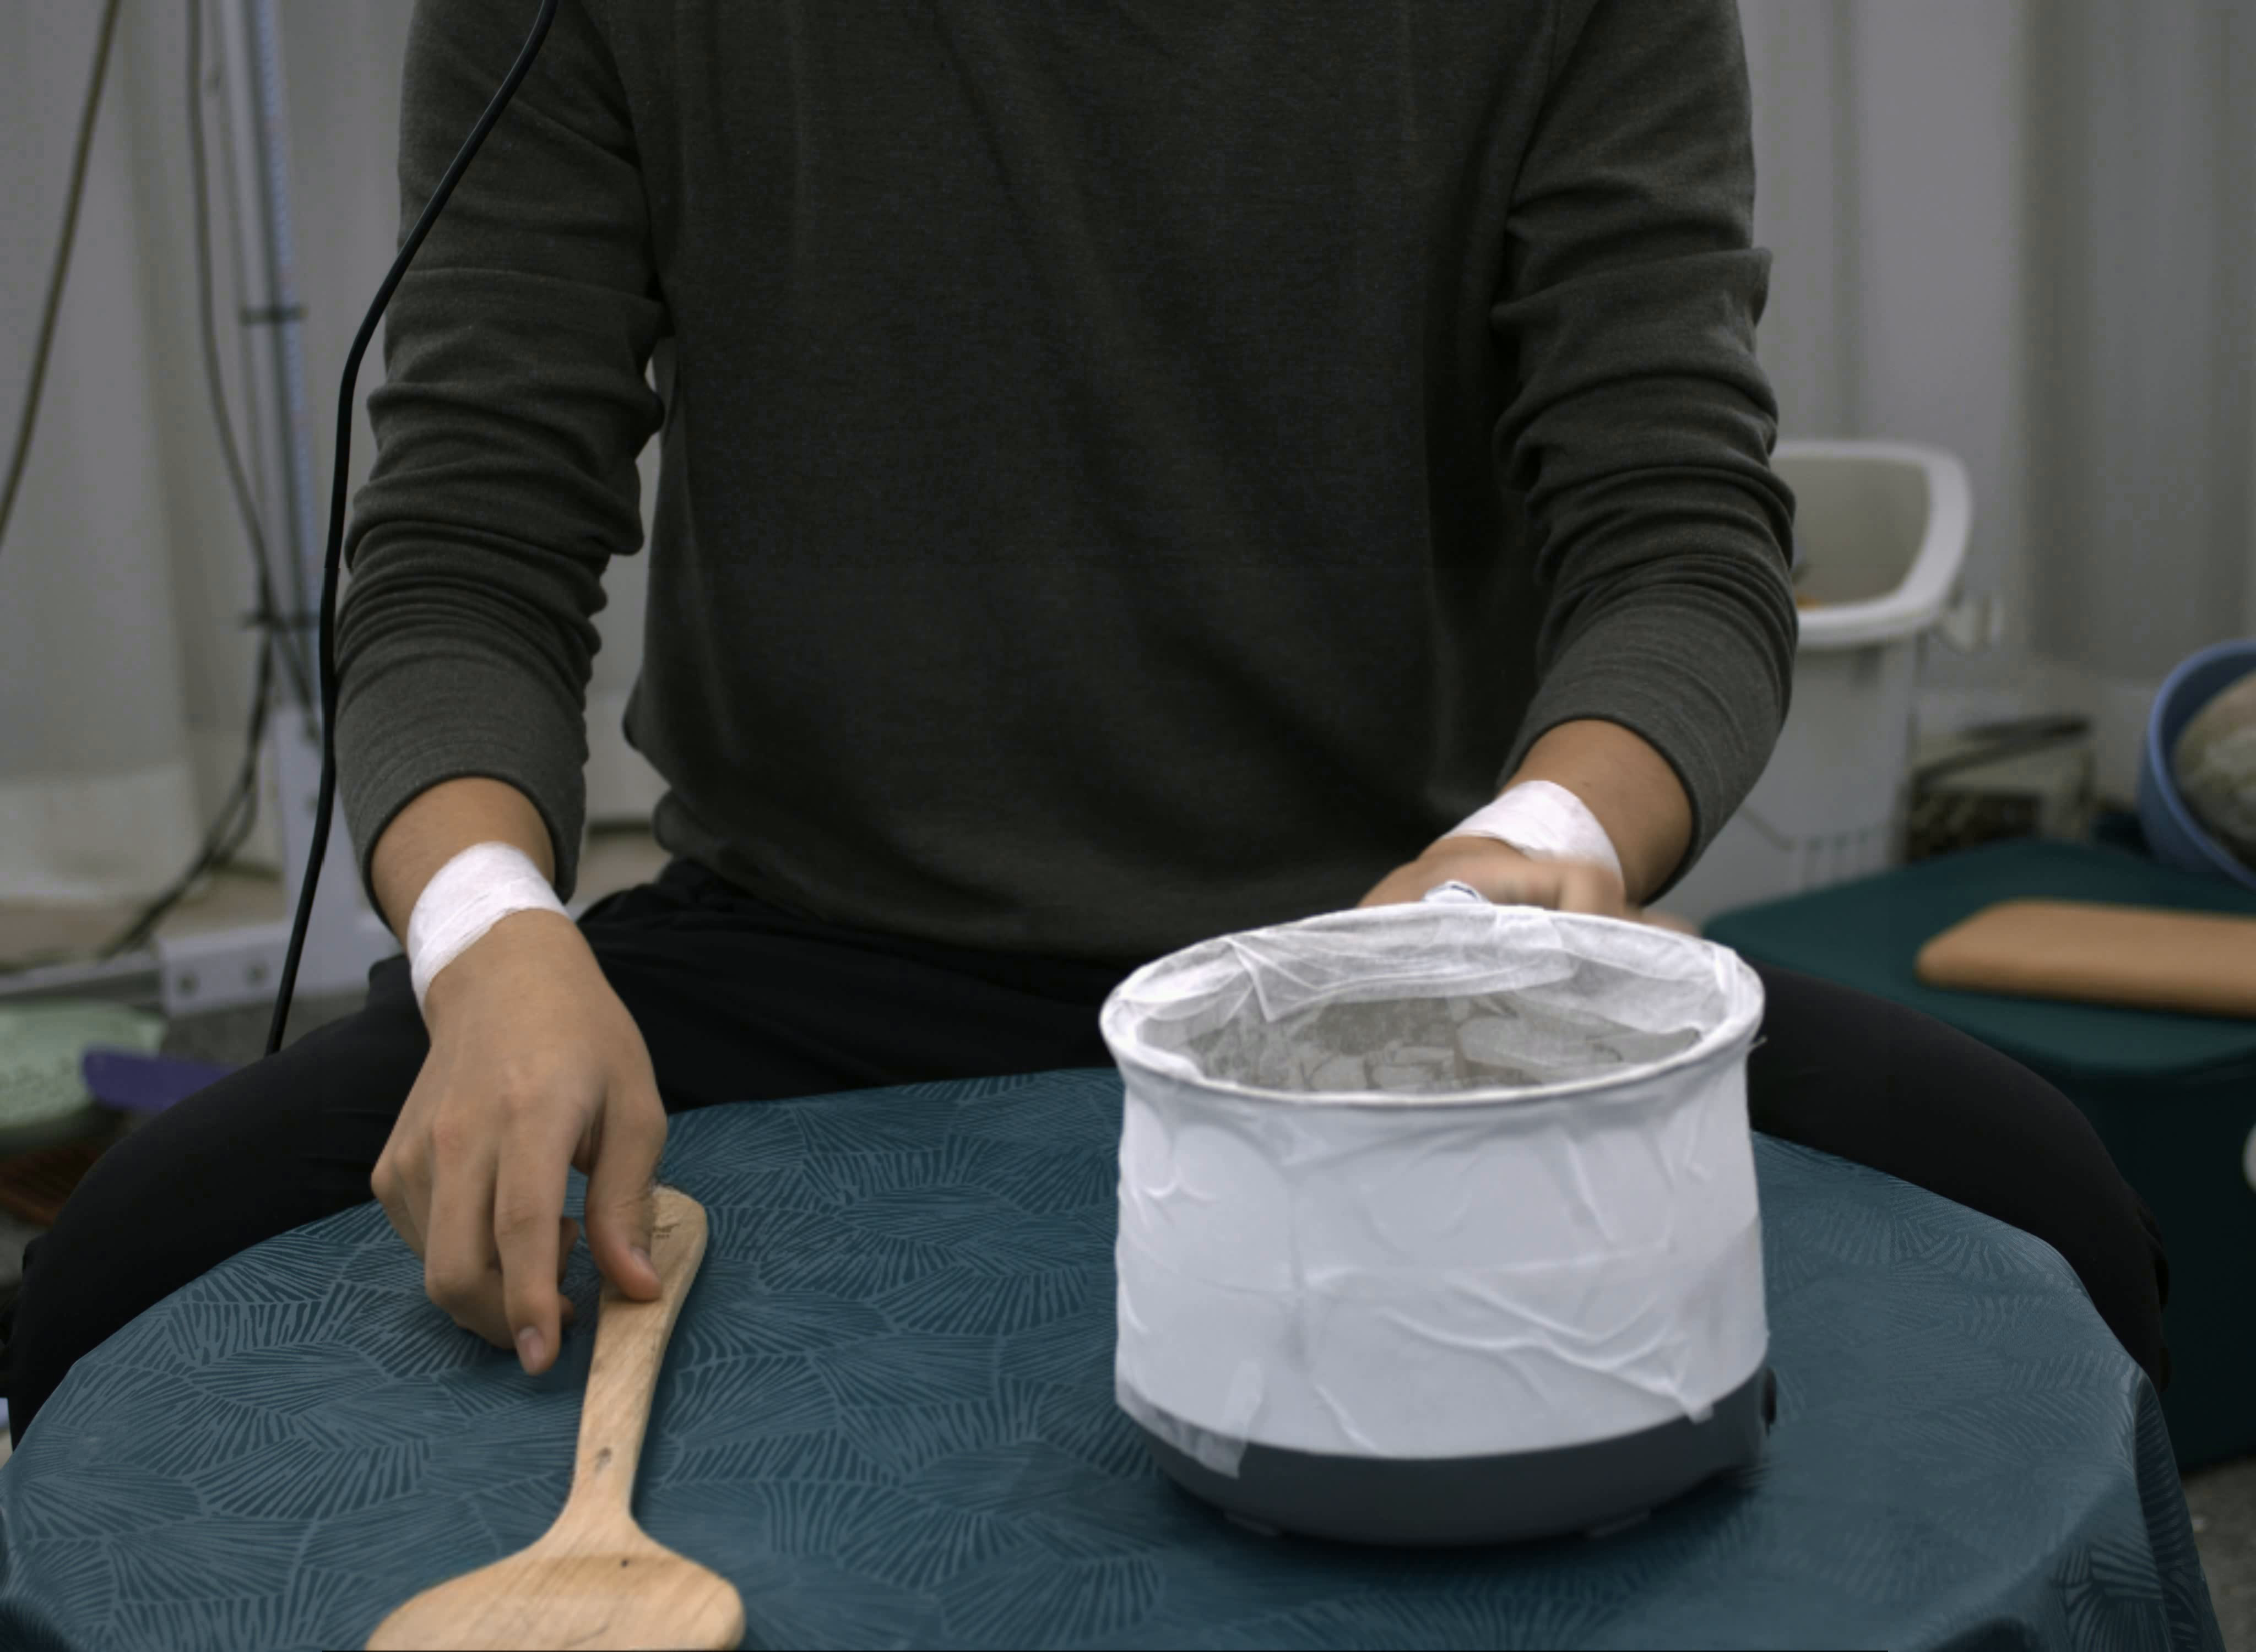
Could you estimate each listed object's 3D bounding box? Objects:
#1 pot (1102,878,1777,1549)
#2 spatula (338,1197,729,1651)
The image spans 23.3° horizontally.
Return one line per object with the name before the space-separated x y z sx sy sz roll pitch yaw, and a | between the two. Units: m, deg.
pot | 0.087 0.100 1.492 0.178 0.136 0.235 -1 14 6
spatula | -0.149 0.165 1.522 0.095 0.018 0.393 -1 15 0
